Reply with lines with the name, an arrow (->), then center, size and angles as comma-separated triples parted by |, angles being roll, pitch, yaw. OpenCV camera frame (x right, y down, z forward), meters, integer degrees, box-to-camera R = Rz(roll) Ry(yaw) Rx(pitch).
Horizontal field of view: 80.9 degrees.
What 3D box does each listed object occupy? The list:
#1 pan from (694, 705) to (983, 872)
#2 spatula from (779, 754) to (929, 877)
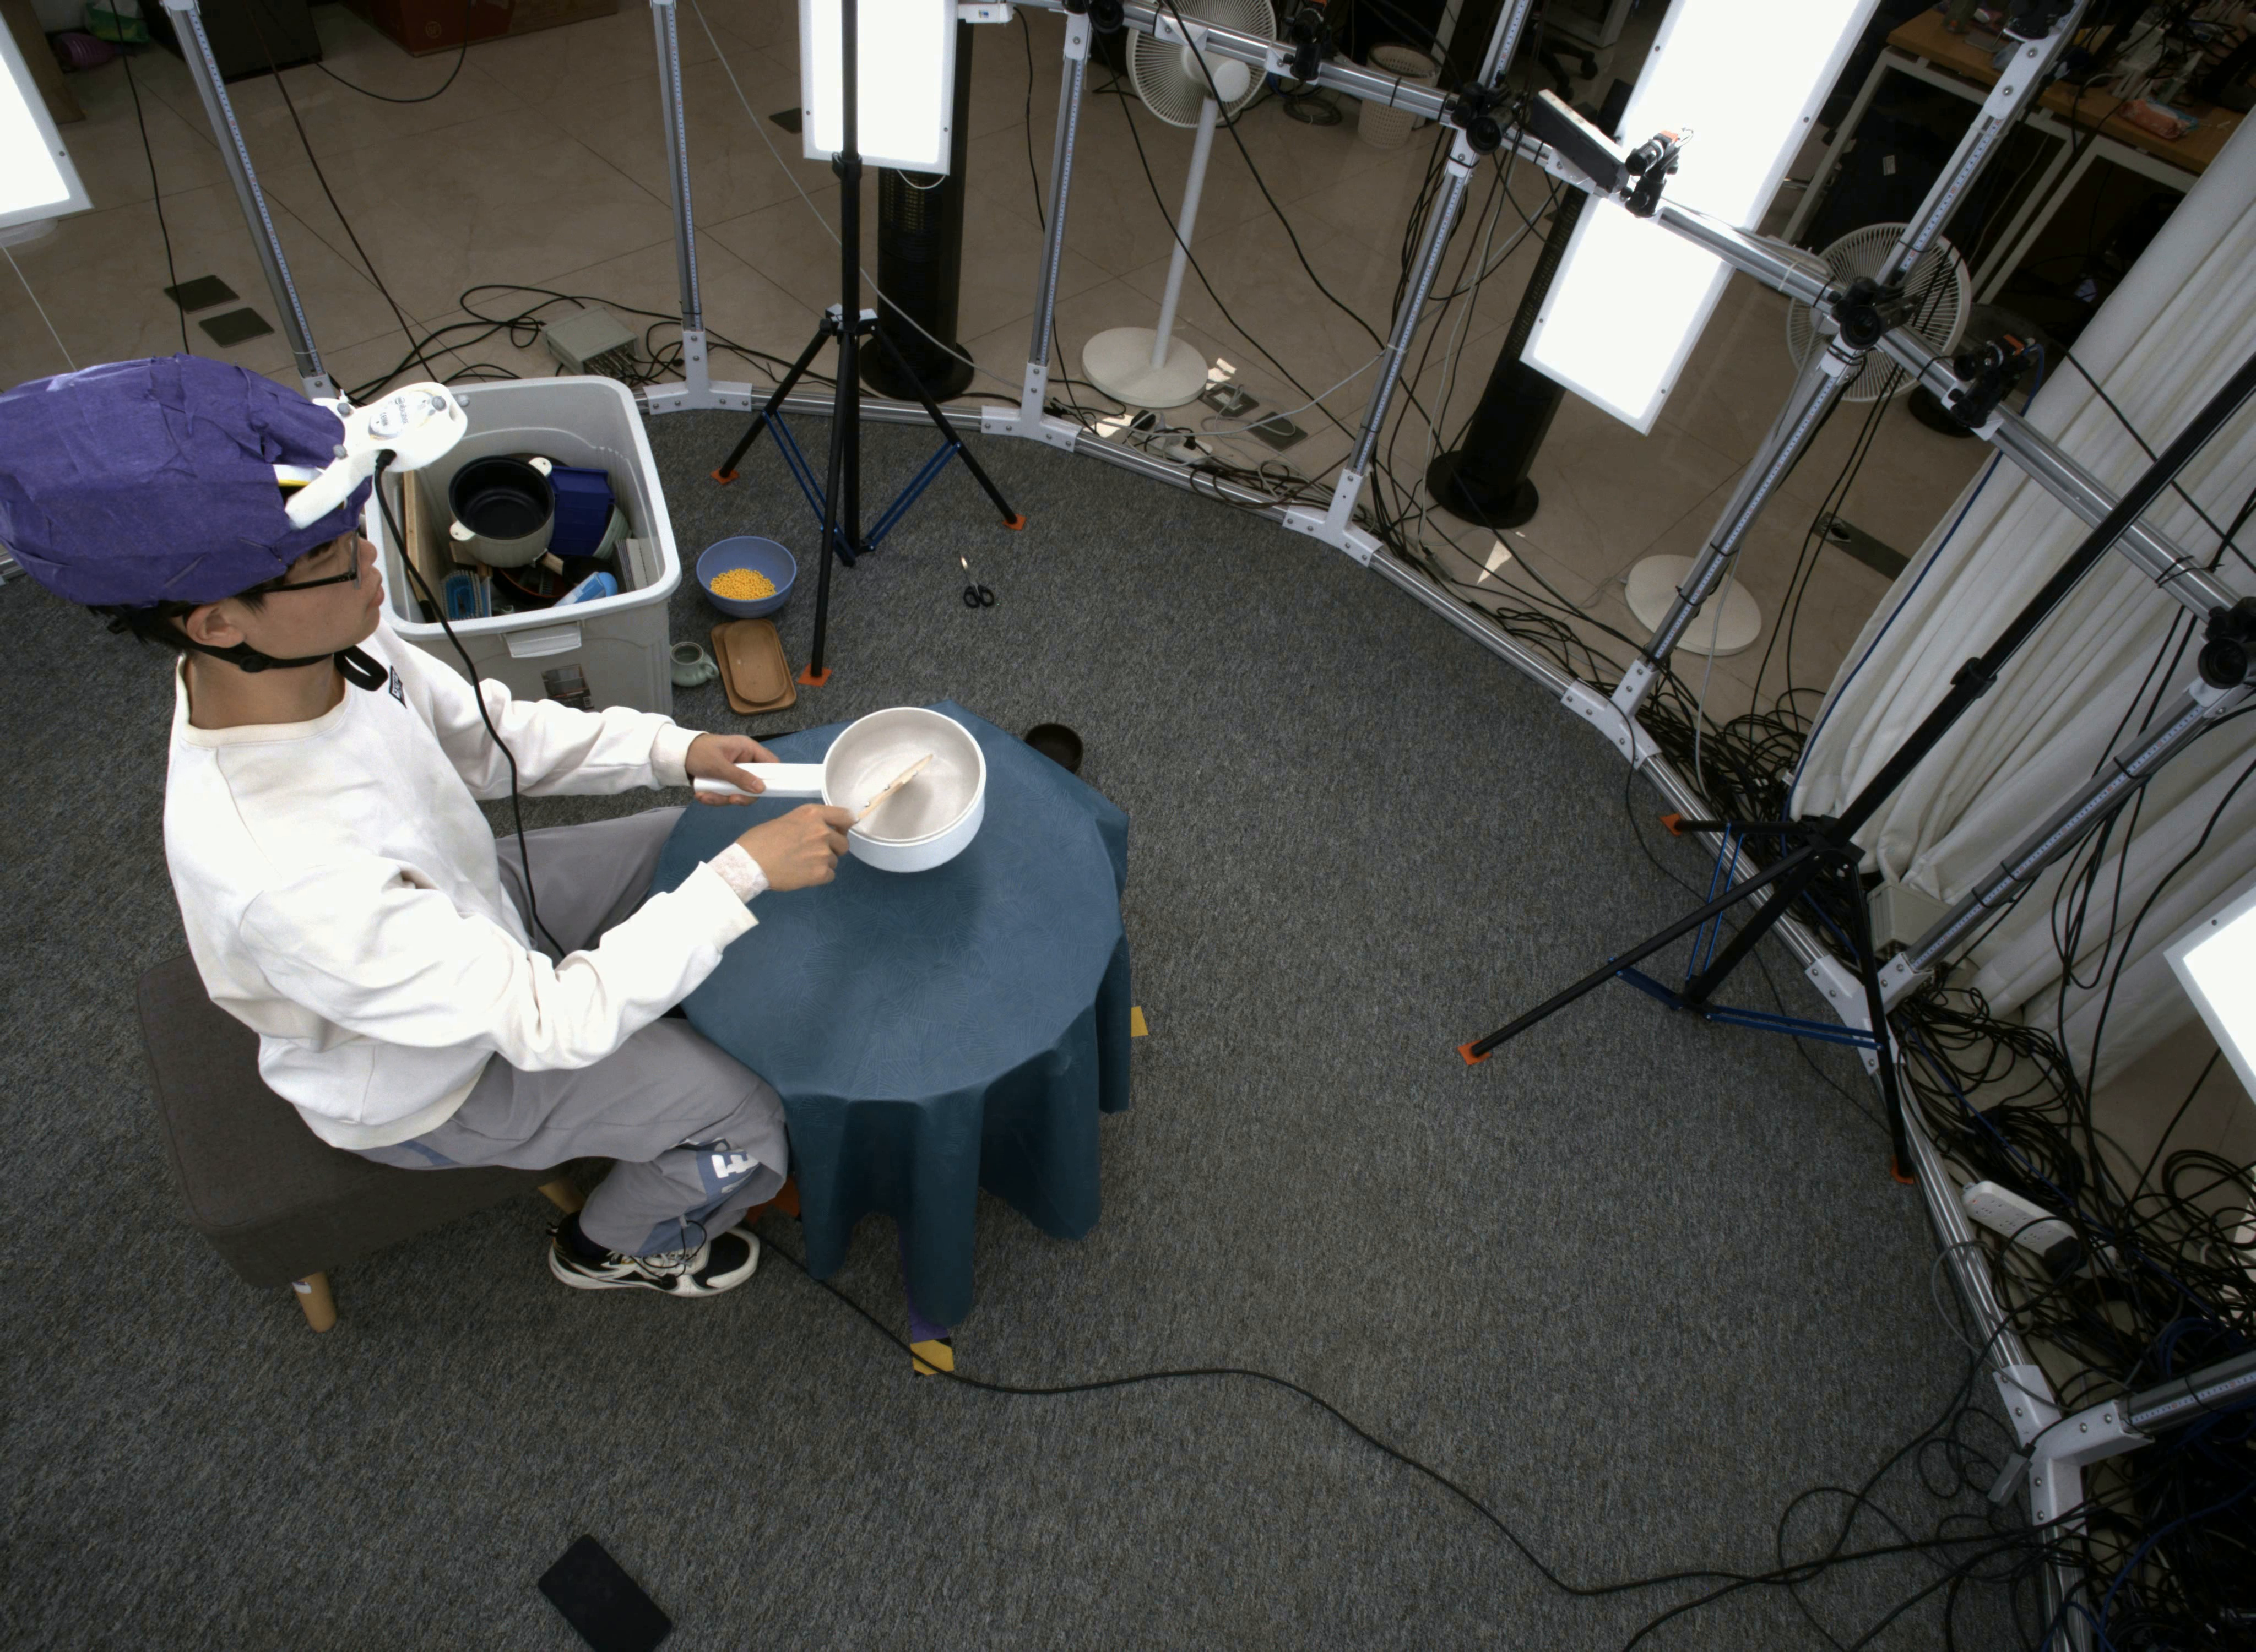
pan -> -0.357, -0.042, 1.632 | 0.352, 0.104, 0.198 | 0, 61, -5
spatula -> -0.321, -0.013, 1.522 | 0.011, 0.071, 0.291 | 55, 32, -10
